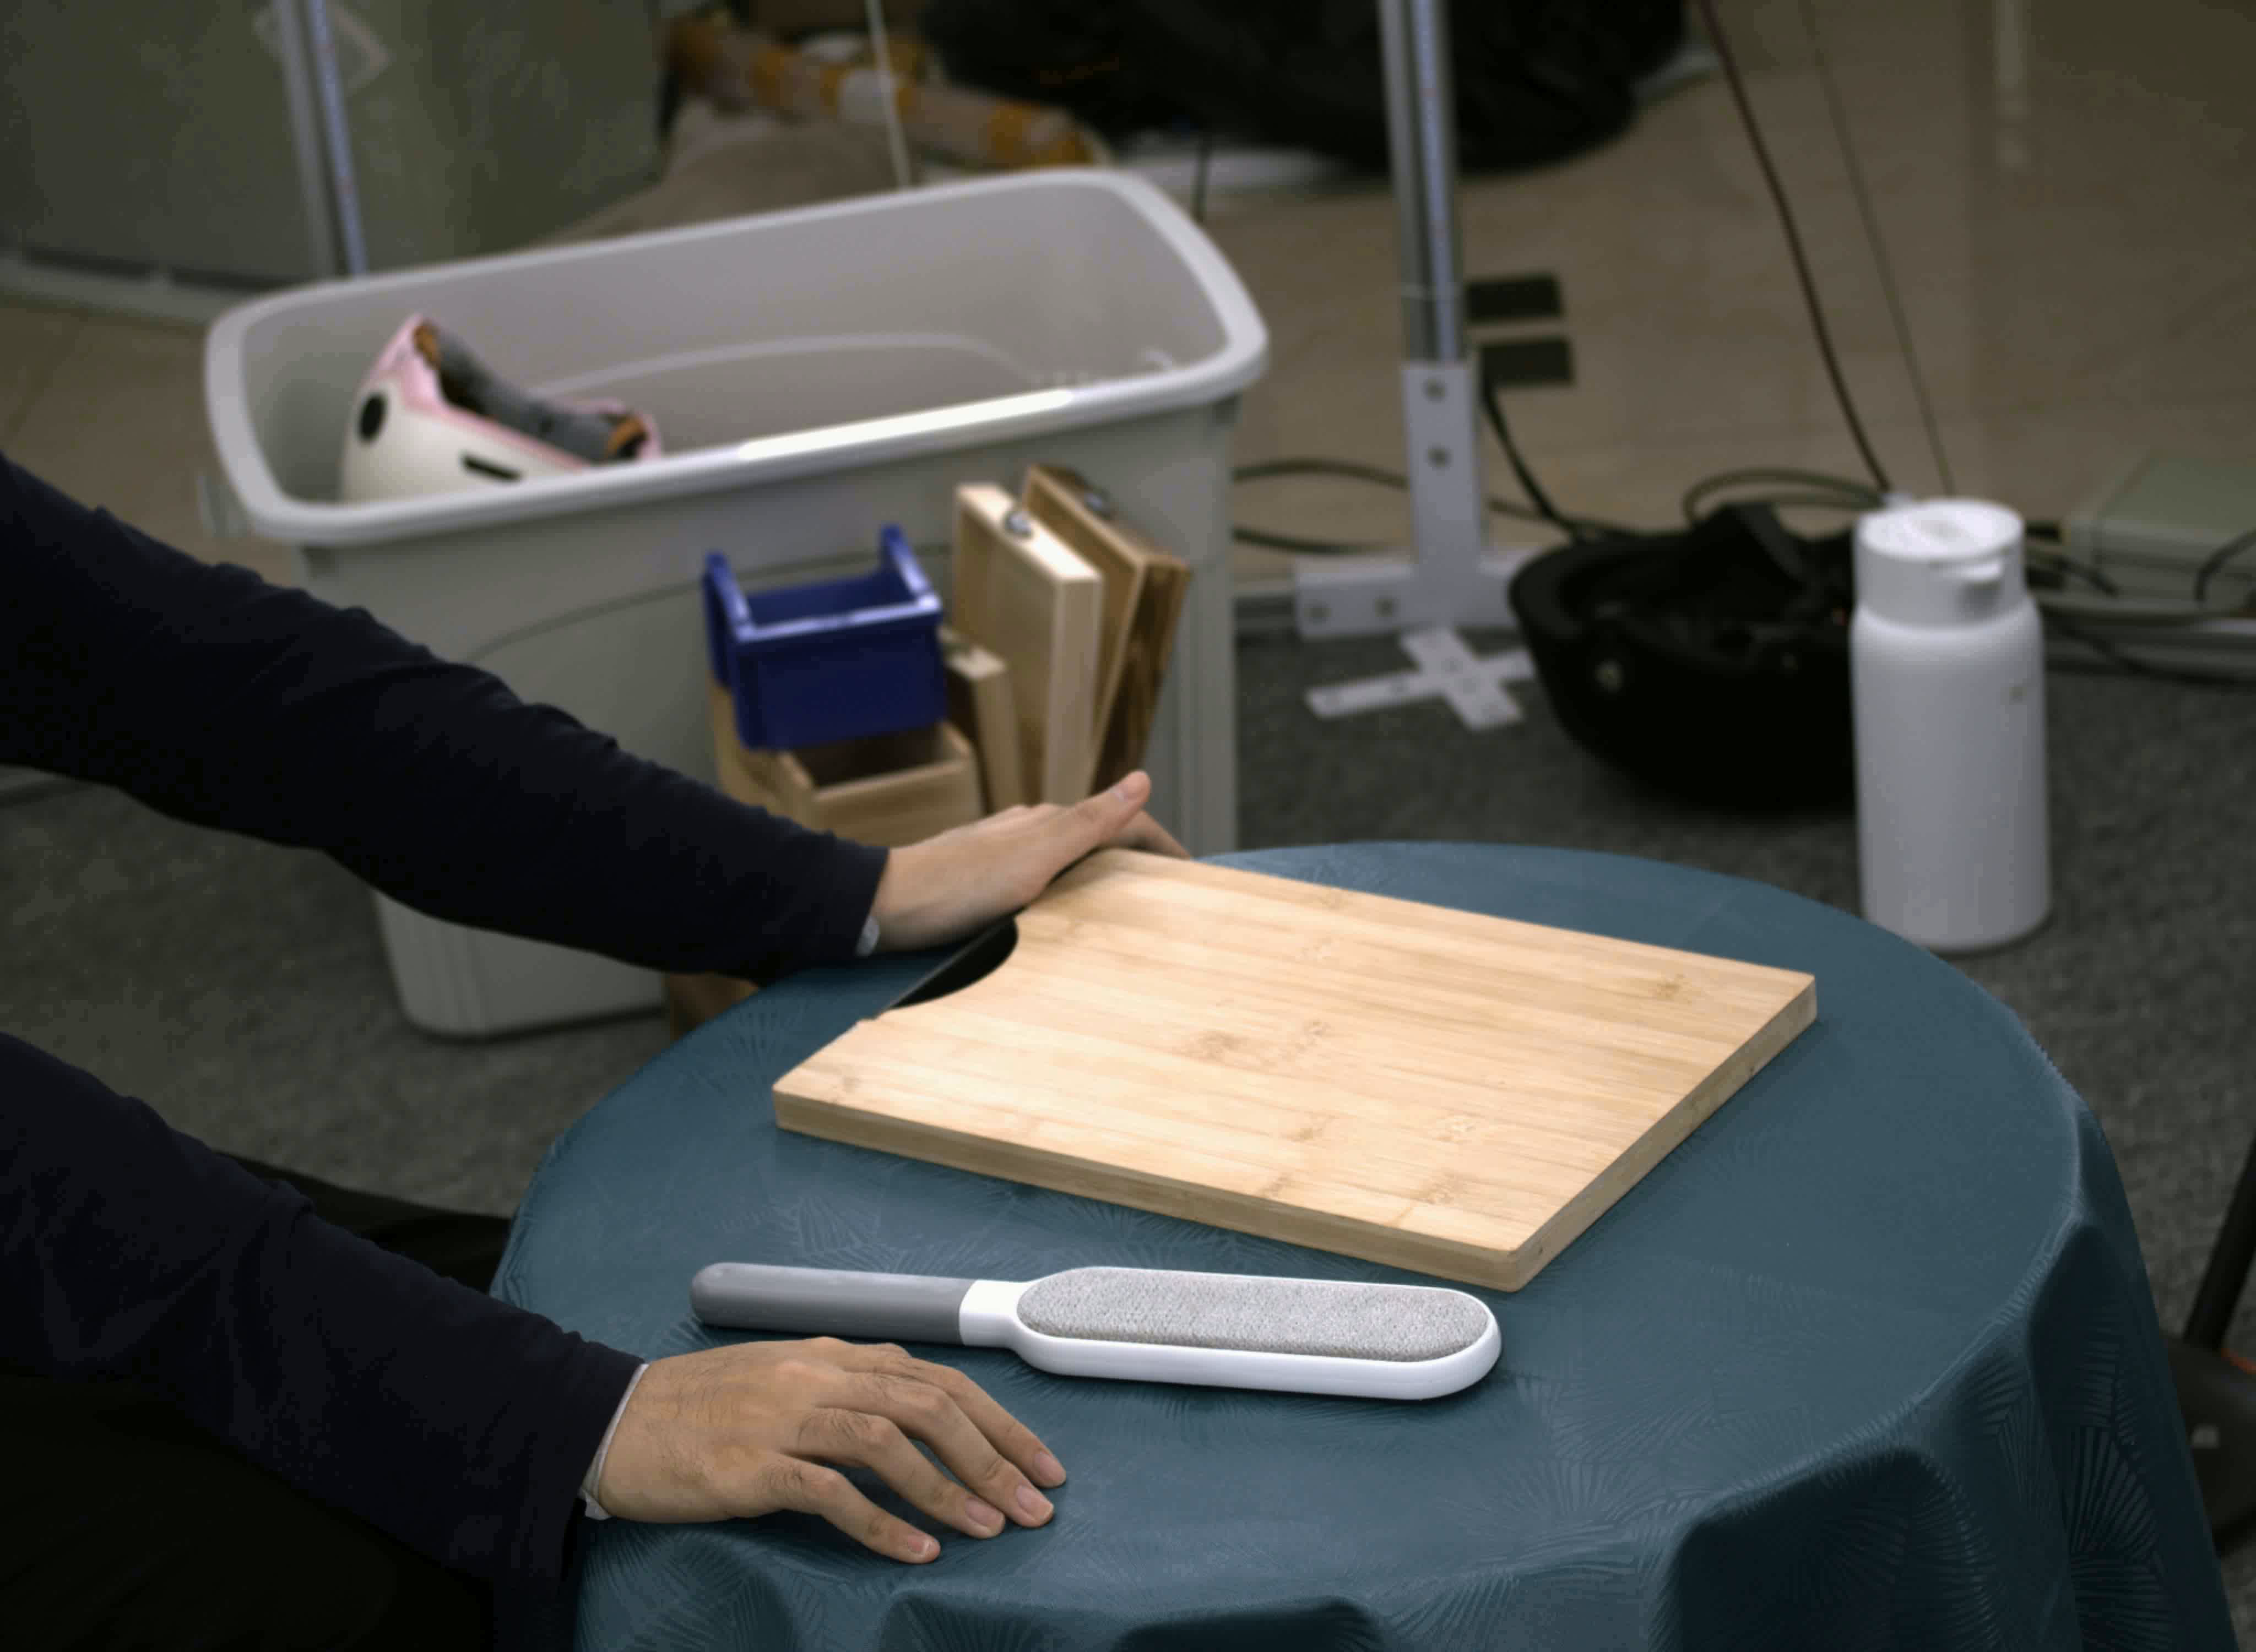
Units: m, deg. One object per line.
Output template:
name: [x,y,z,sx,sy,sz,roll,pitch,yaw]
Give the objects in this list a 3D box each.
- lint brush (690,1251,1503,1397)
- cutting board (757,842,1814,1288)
lint brush: [-0.016,0.175,2.046,0.308,0.021,0.059,3,32,20]
cutting board: [0.061,0.088,2.228,0.347,0.024,0.248,10,29,32]
